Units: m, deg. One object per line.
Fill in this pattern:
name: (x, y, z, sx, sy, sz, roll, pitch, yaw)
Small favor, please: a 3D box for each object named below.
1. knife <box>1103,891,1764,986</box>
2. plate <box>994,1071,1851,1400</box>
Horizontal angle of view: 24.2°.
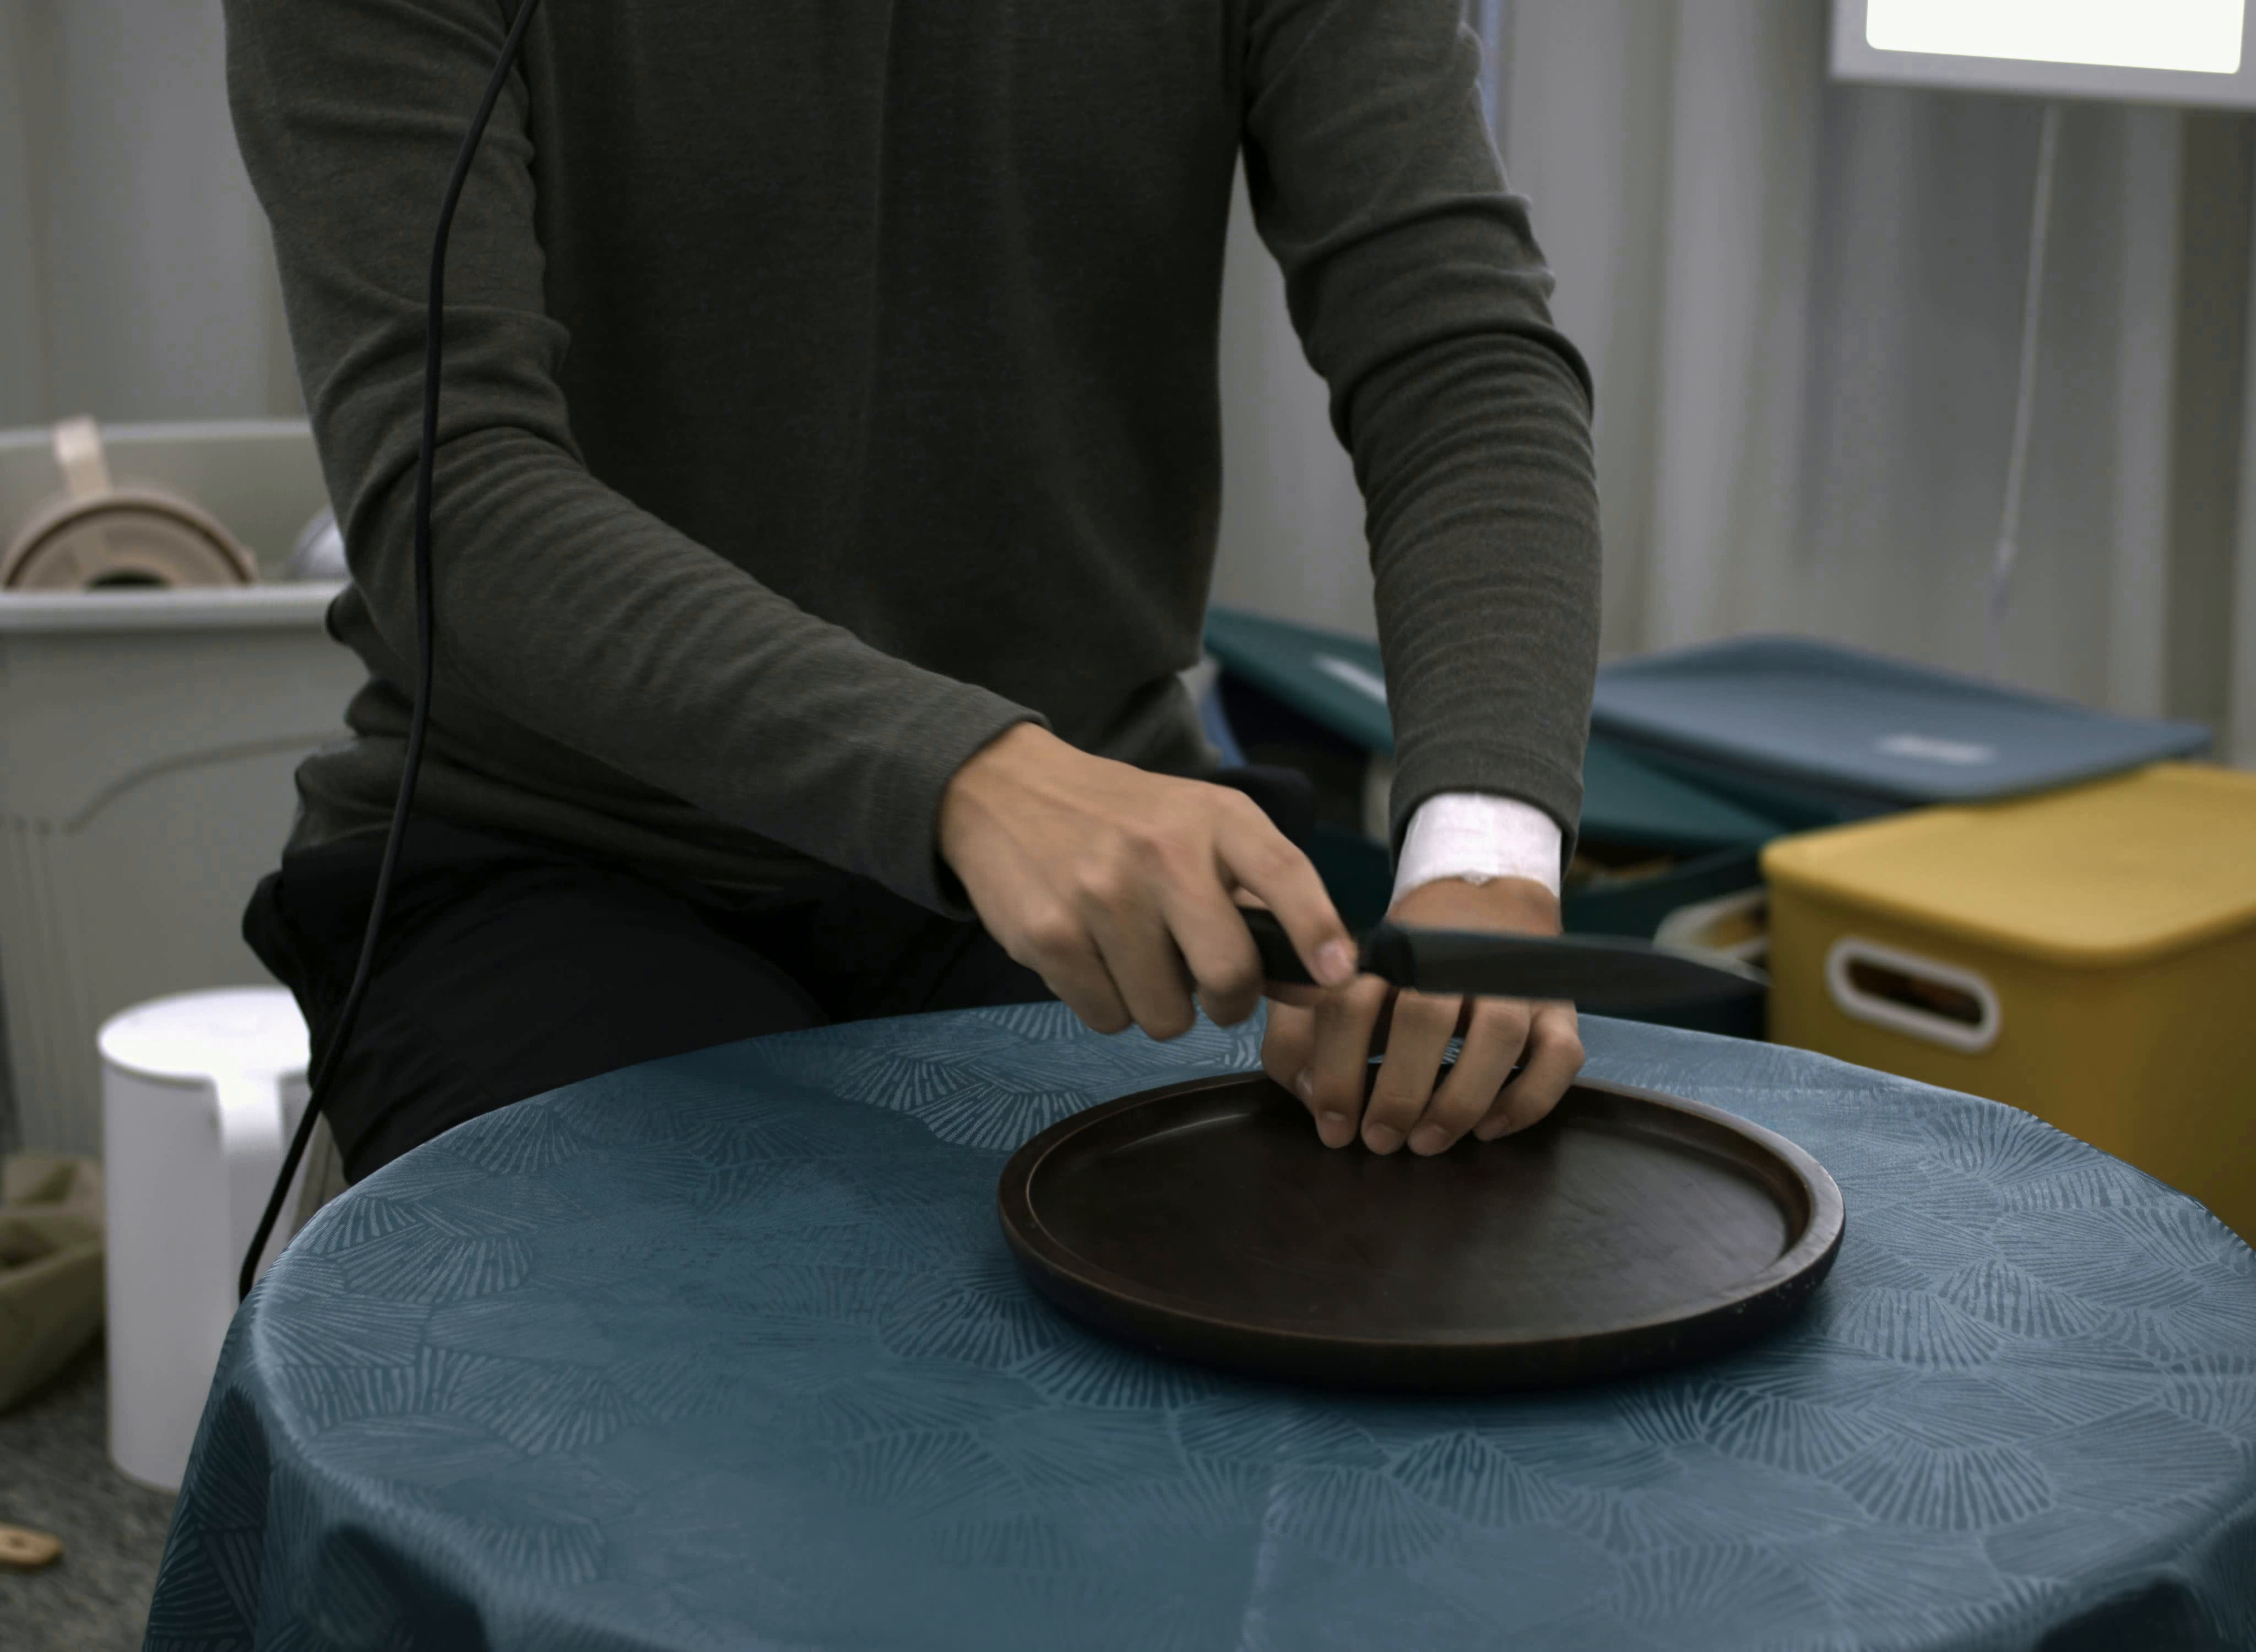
knife: (0.086, 0.032, 1.555, 0.235, 0.024, 0.016, 2, 17, 38)
plate: (0.087, 0.118, 1.565, 0.254, 0.029, 0.253, 2, 16, 0)
